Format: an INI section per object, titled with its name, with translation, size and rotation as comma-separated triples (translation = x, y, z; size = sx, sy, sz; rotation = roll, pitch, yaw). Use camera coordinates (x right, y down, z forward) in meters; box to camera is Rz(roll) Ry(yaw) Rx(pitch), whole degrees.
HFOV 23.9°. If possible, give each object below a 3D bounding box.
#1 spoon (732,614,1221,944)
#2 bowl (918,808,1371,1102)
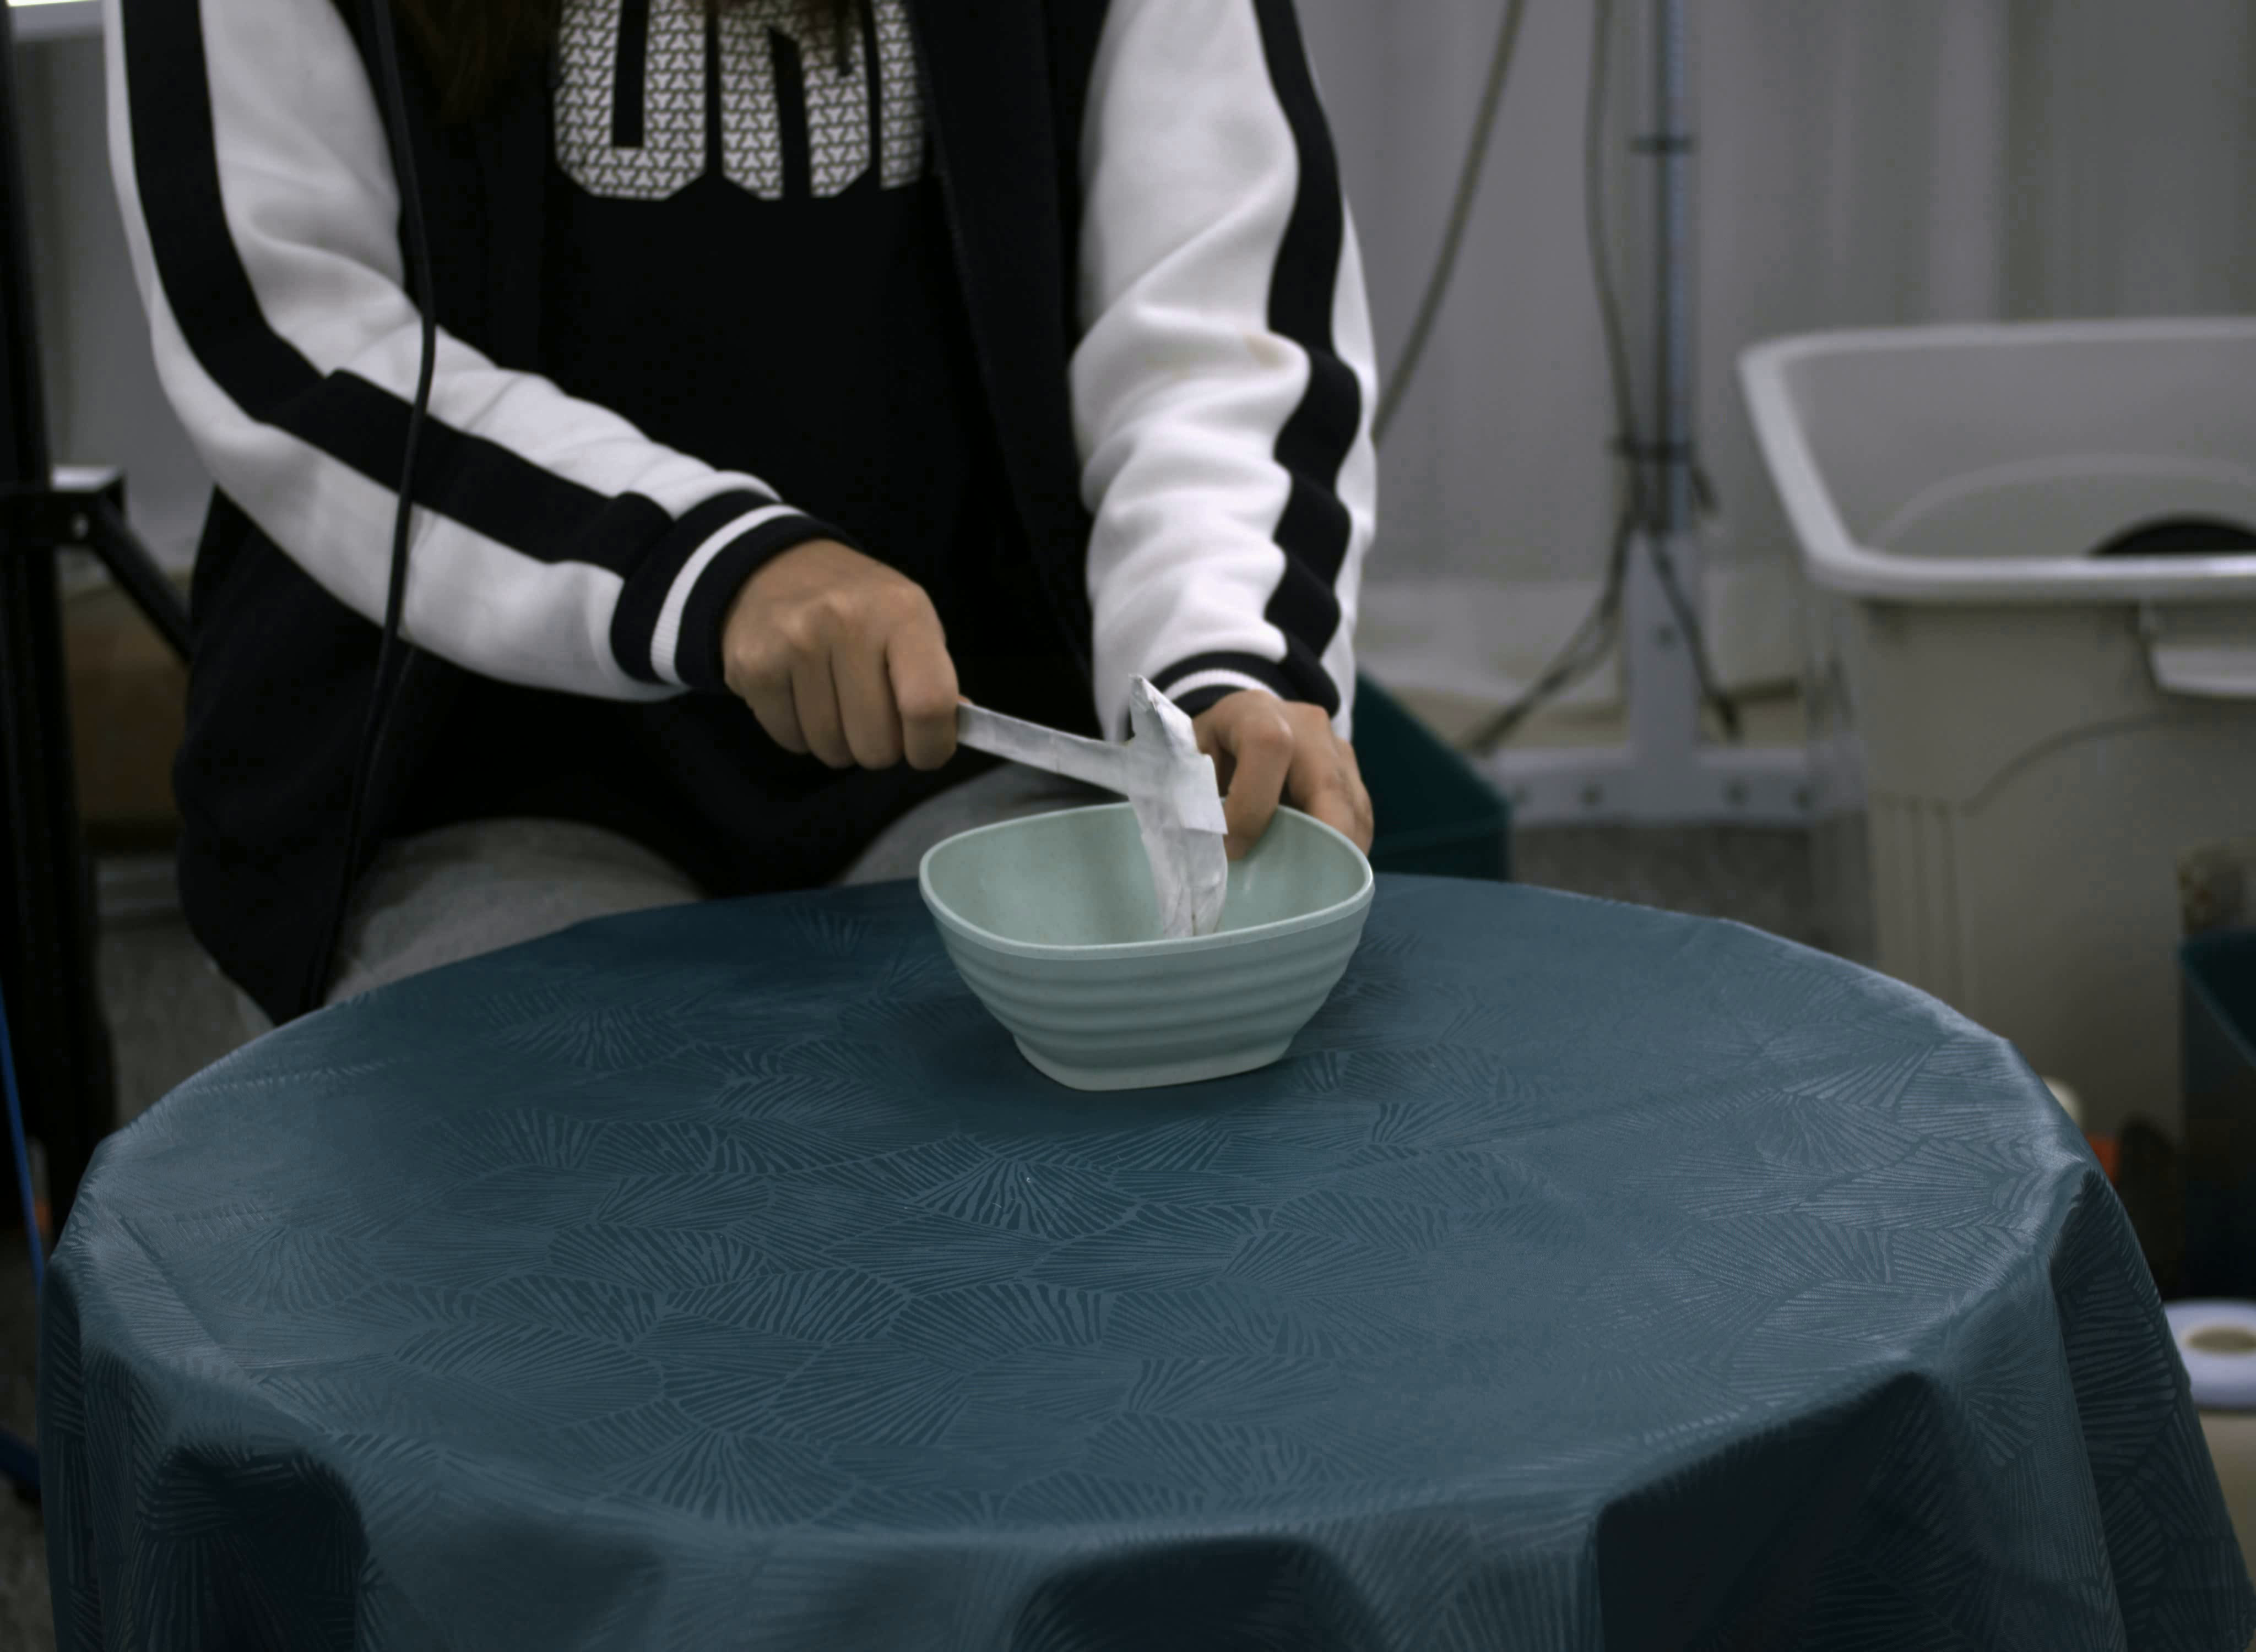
[spoon]
translation = -0.058, -0.030, 1.726
size = 0.058, 0.100, 0.284
rotation = -18, 26, -39
[bowl]
translation = 0.006, 0.044, 1.683
size = 0.150, 0.058, 0.152
rotation = -2, 18, -1
